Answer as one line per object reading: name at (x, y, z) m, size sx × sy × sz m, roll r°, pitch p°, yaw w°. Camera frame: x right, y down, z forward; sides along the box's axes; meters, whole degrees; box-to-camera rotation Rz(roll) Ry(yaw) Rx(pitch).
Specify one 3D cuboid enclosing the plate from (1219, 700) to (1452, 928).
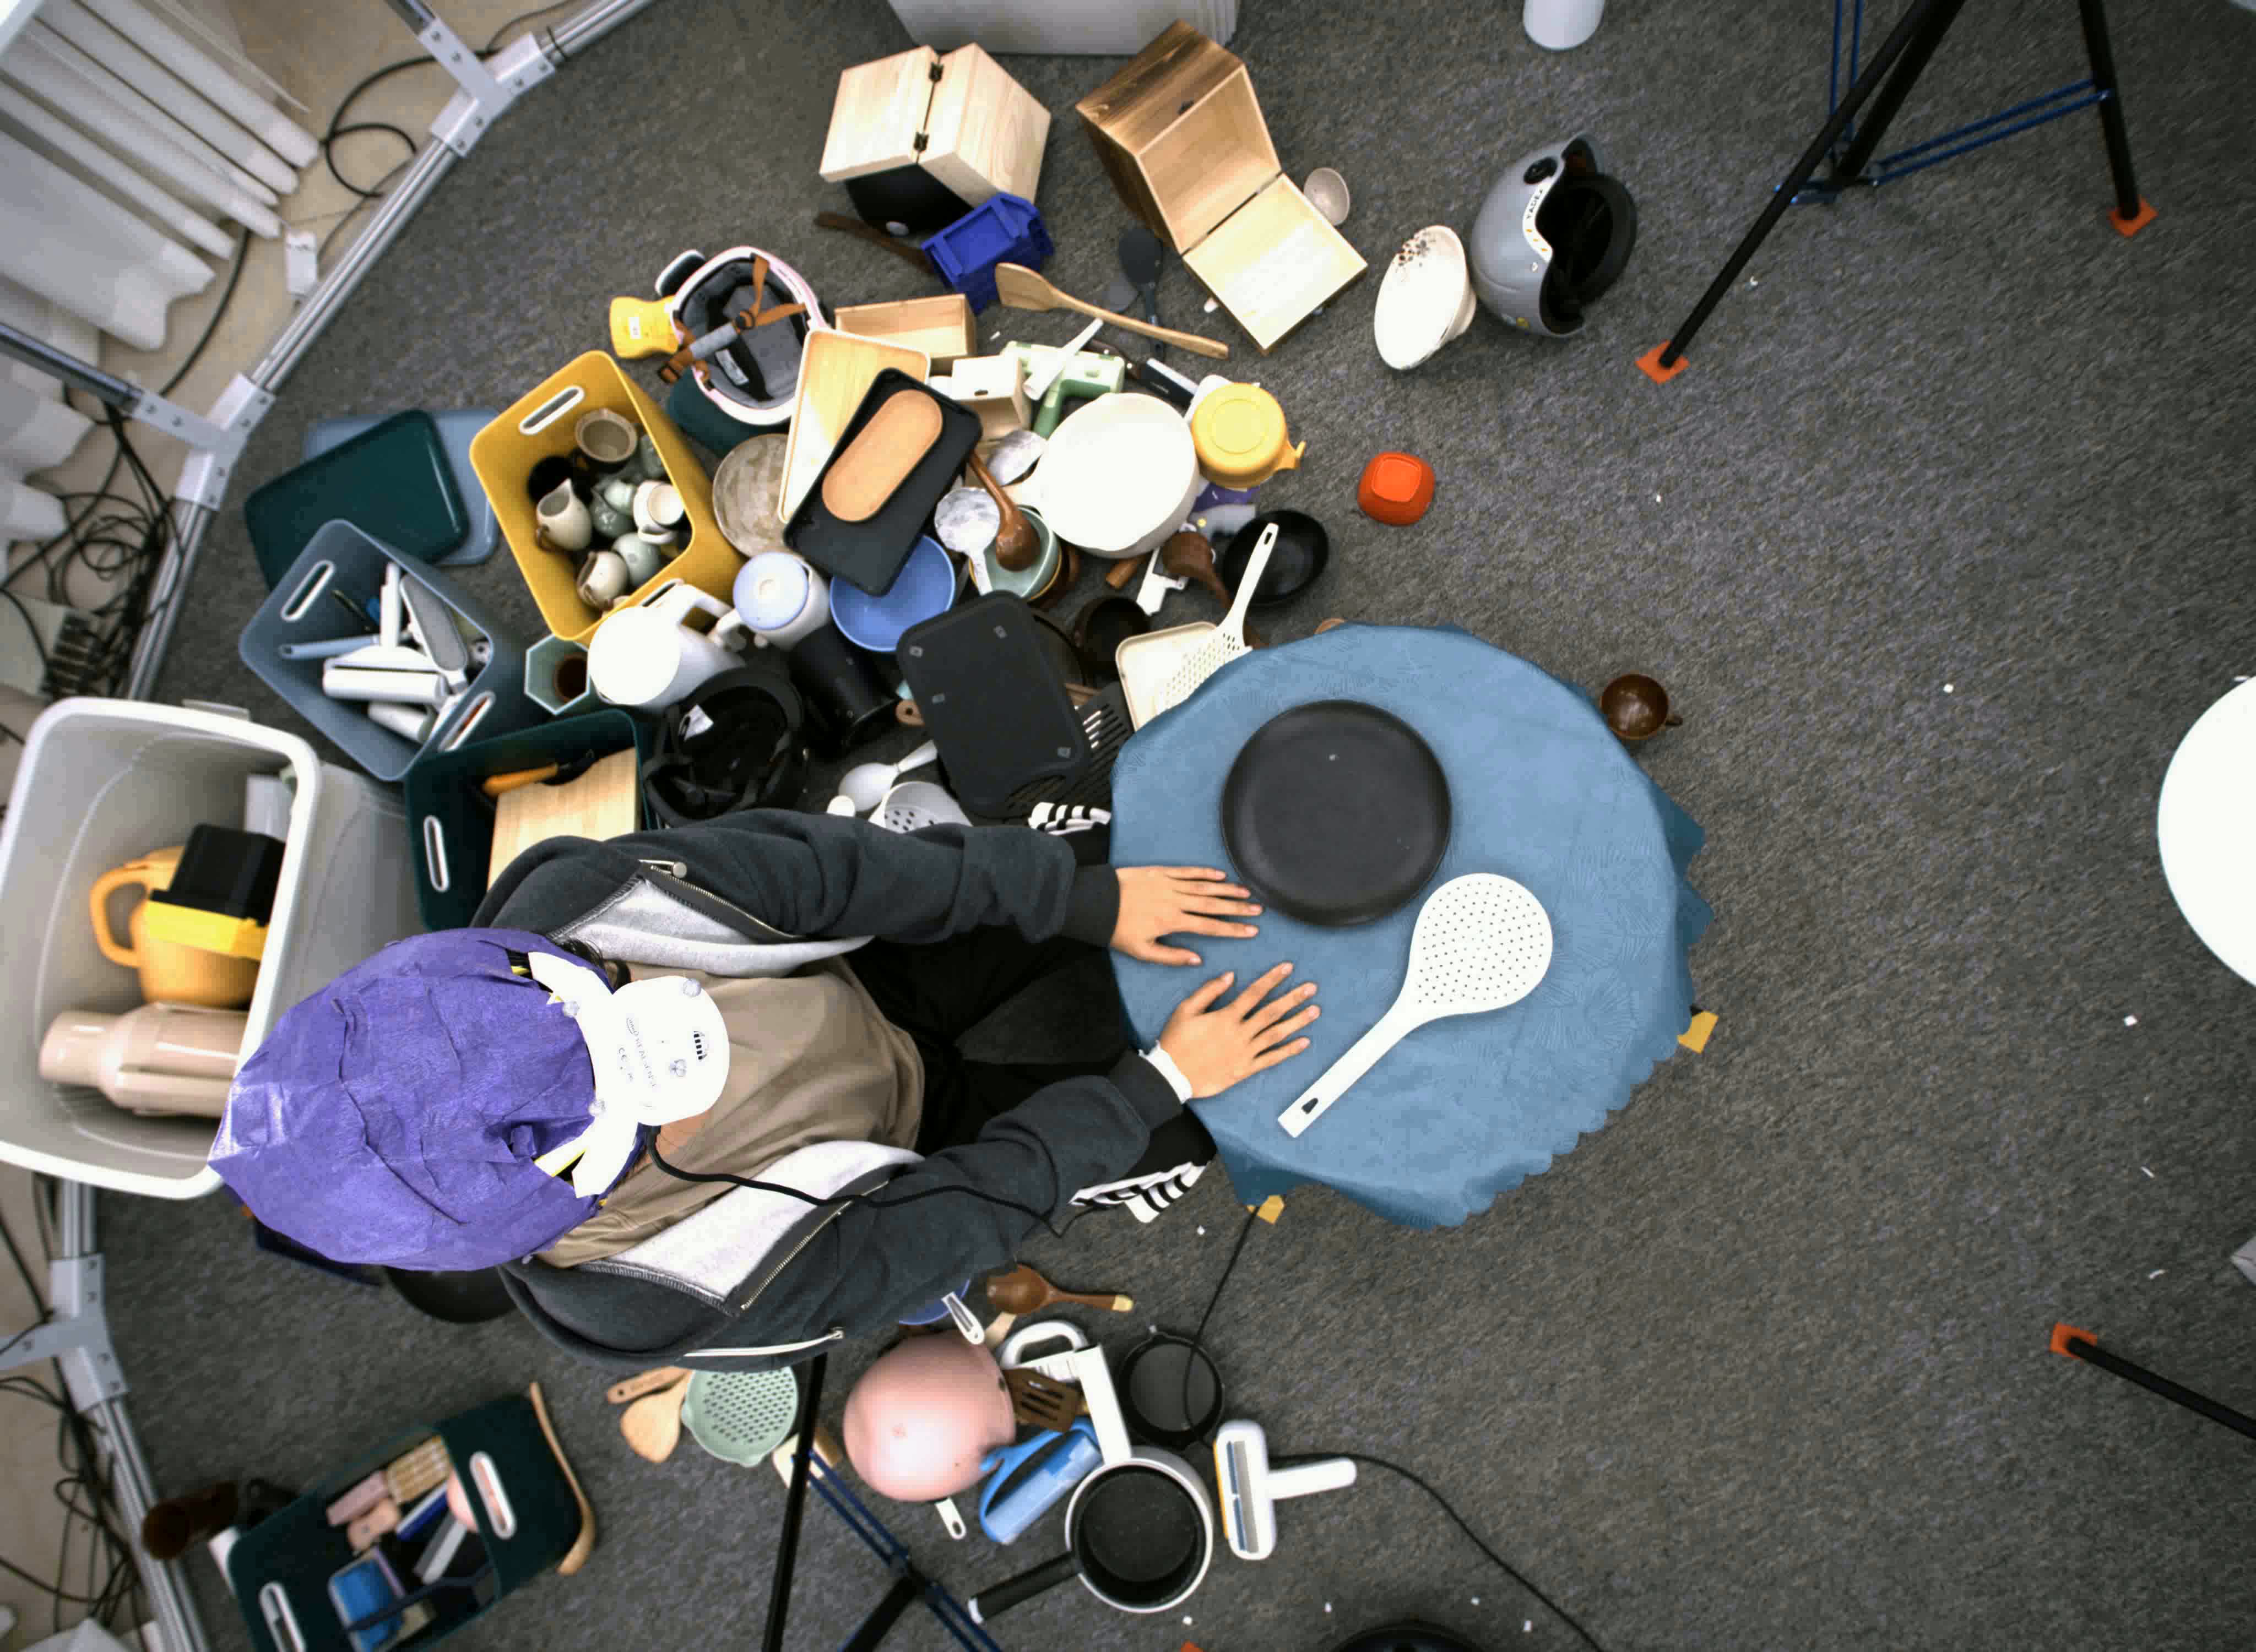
plate at (0.218, -0.013, 1.462) m, size 0.245 × 0.023 × 0.243 m, roll -1°, pitch 87°, yaw 10°

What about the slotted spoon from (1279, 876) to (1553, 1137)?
slotted spoon at (0.288, 0.194, 1.426) m, size 0.351 × 0.046 × 0.135 m, roll -45°, pitch 78°, yaw 6°
